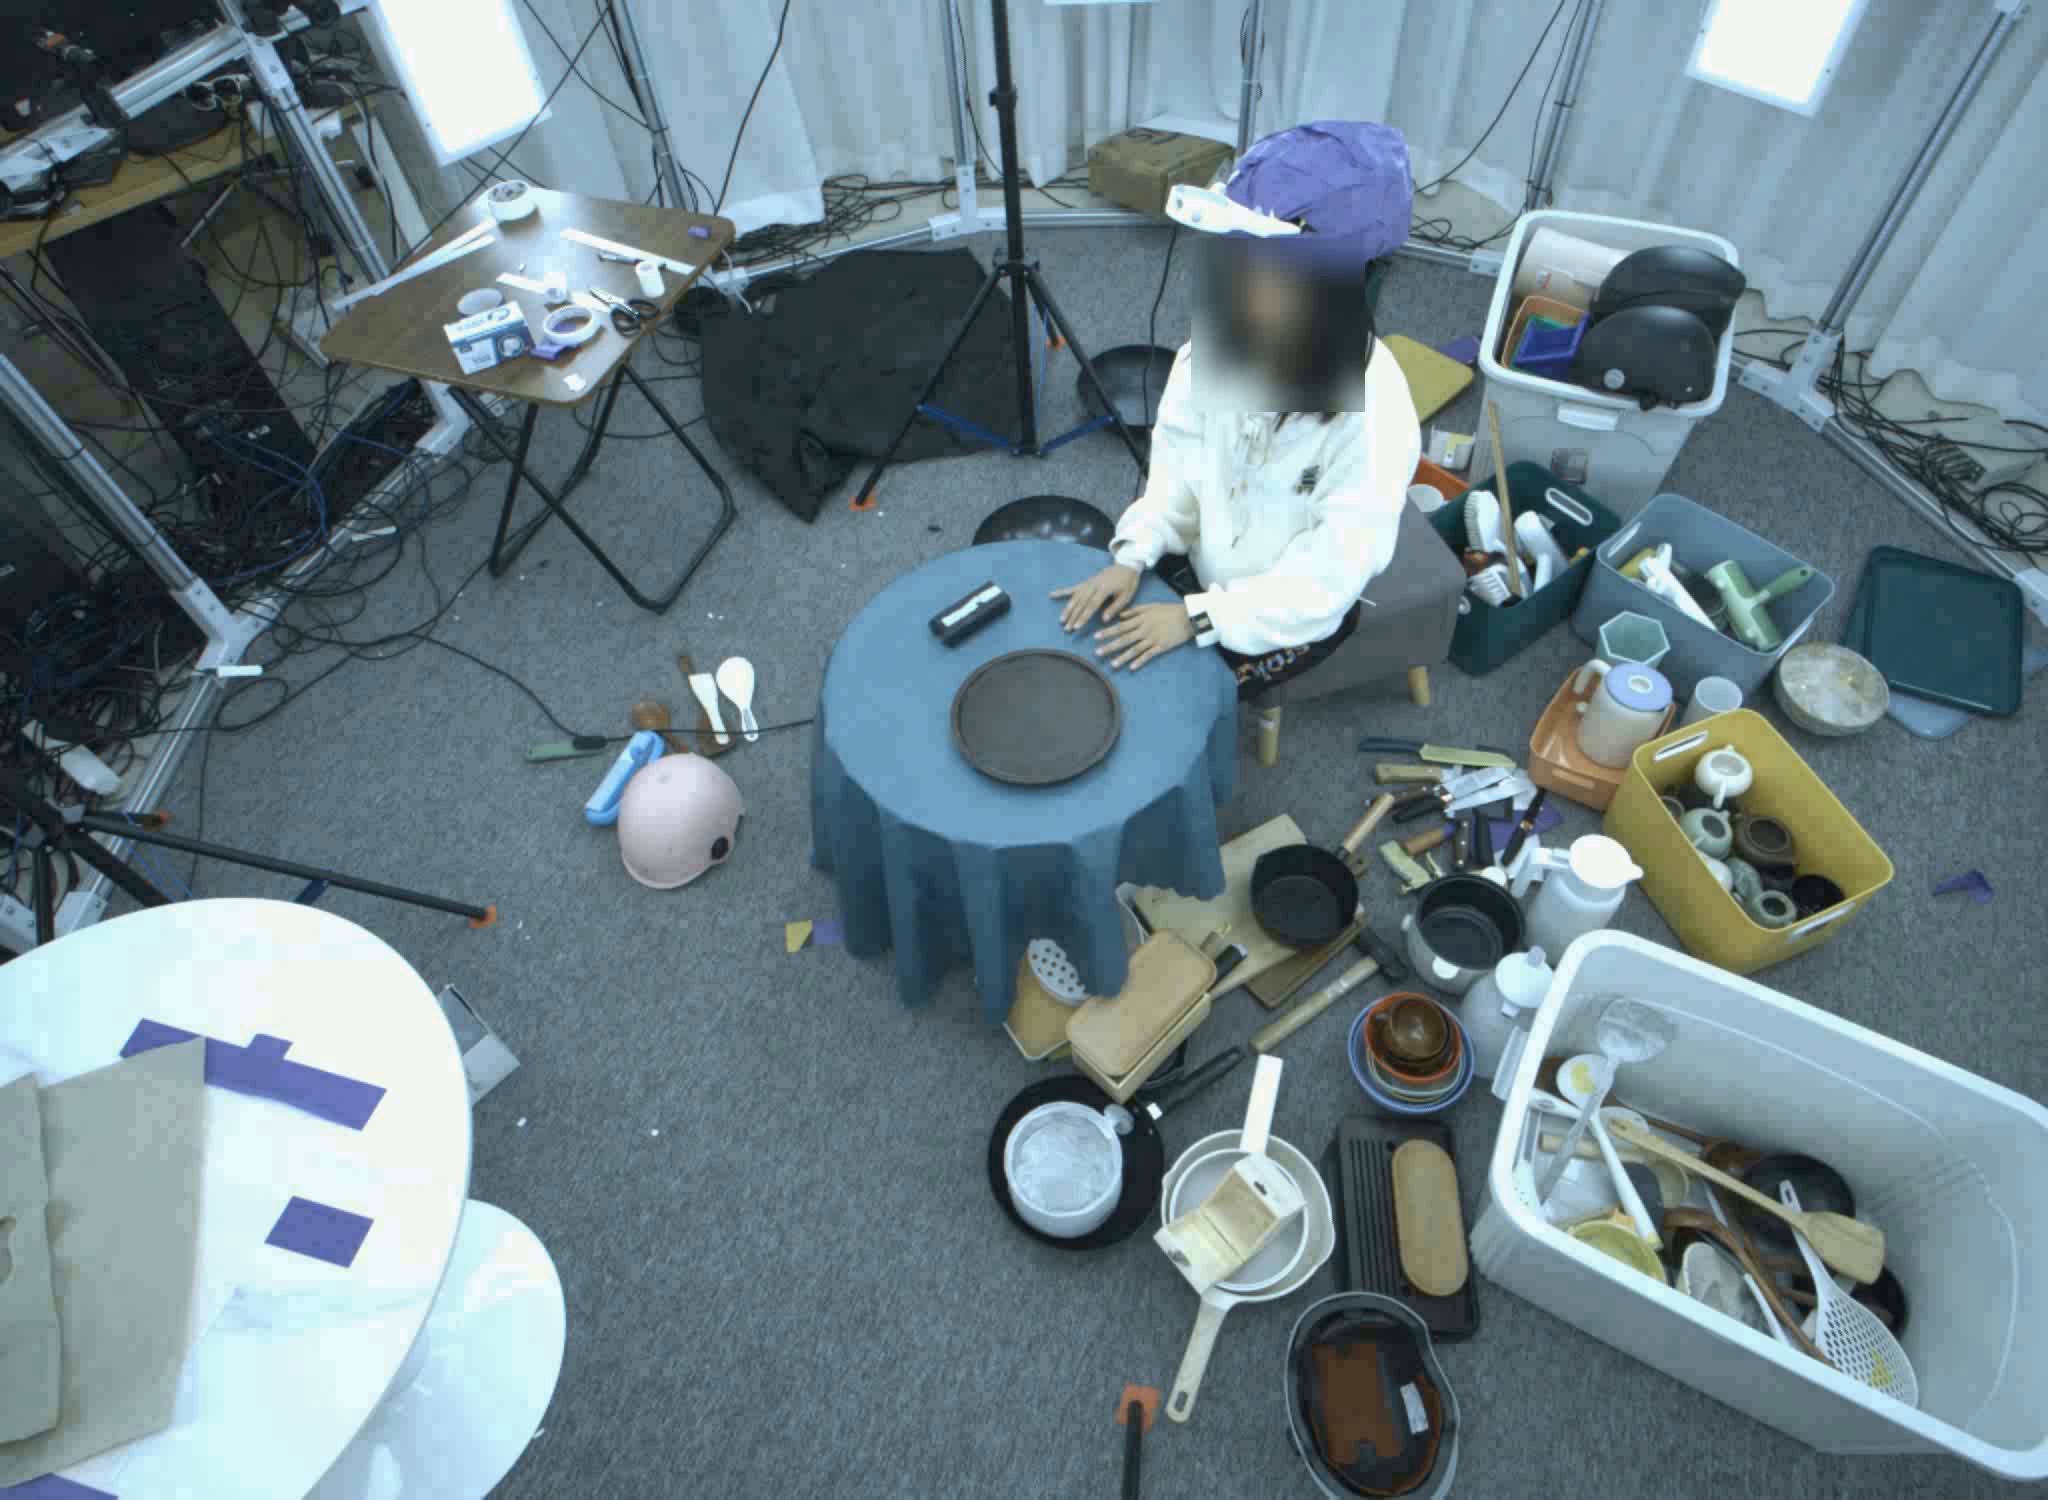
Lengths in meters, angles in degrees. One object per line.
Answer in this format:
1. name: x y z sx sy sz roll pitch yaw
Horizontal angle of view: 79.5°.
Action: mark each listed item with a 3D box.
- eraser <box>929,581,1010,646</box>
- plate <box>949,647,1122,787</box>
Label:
1. eraser: -0.085 -0.214 1.926 0.126 0.031 0.052 -36 63 -23
2. plate: 0.017 -0.049 1.807 0.254 0.029 0.252 -1 56 3
